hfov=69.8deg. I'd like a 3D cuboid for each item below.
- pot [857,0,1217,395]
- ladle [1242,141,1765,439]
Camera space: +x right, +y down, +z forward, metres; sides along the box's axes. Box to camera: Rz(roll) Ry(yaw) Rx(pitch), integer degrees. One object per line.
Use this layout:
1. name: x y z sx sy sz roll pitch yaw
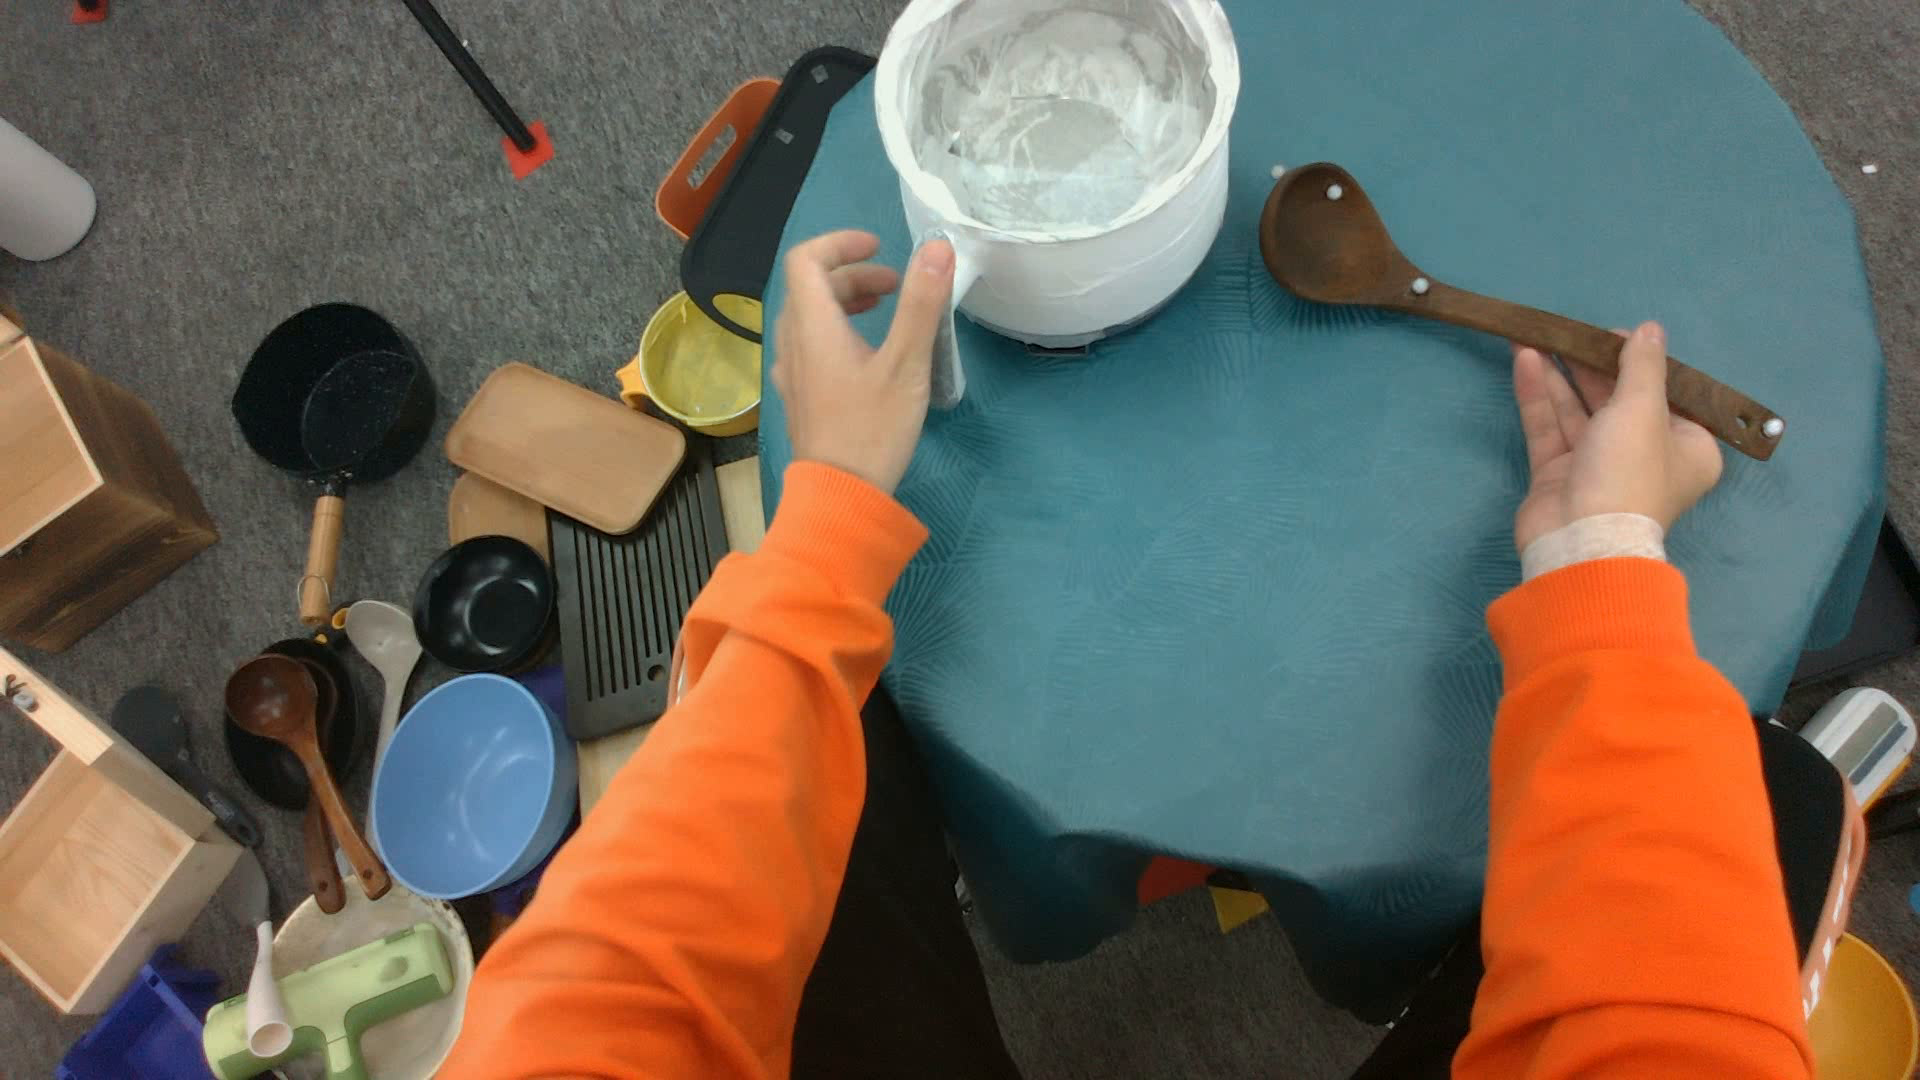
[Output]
1. pot: 0.030 -0.189 0.725 0.179 0.136 0.234 29 78 15
2. ladle: 0.272 -0.128 0.700 0.274 0.071 0.076 28 80 23
